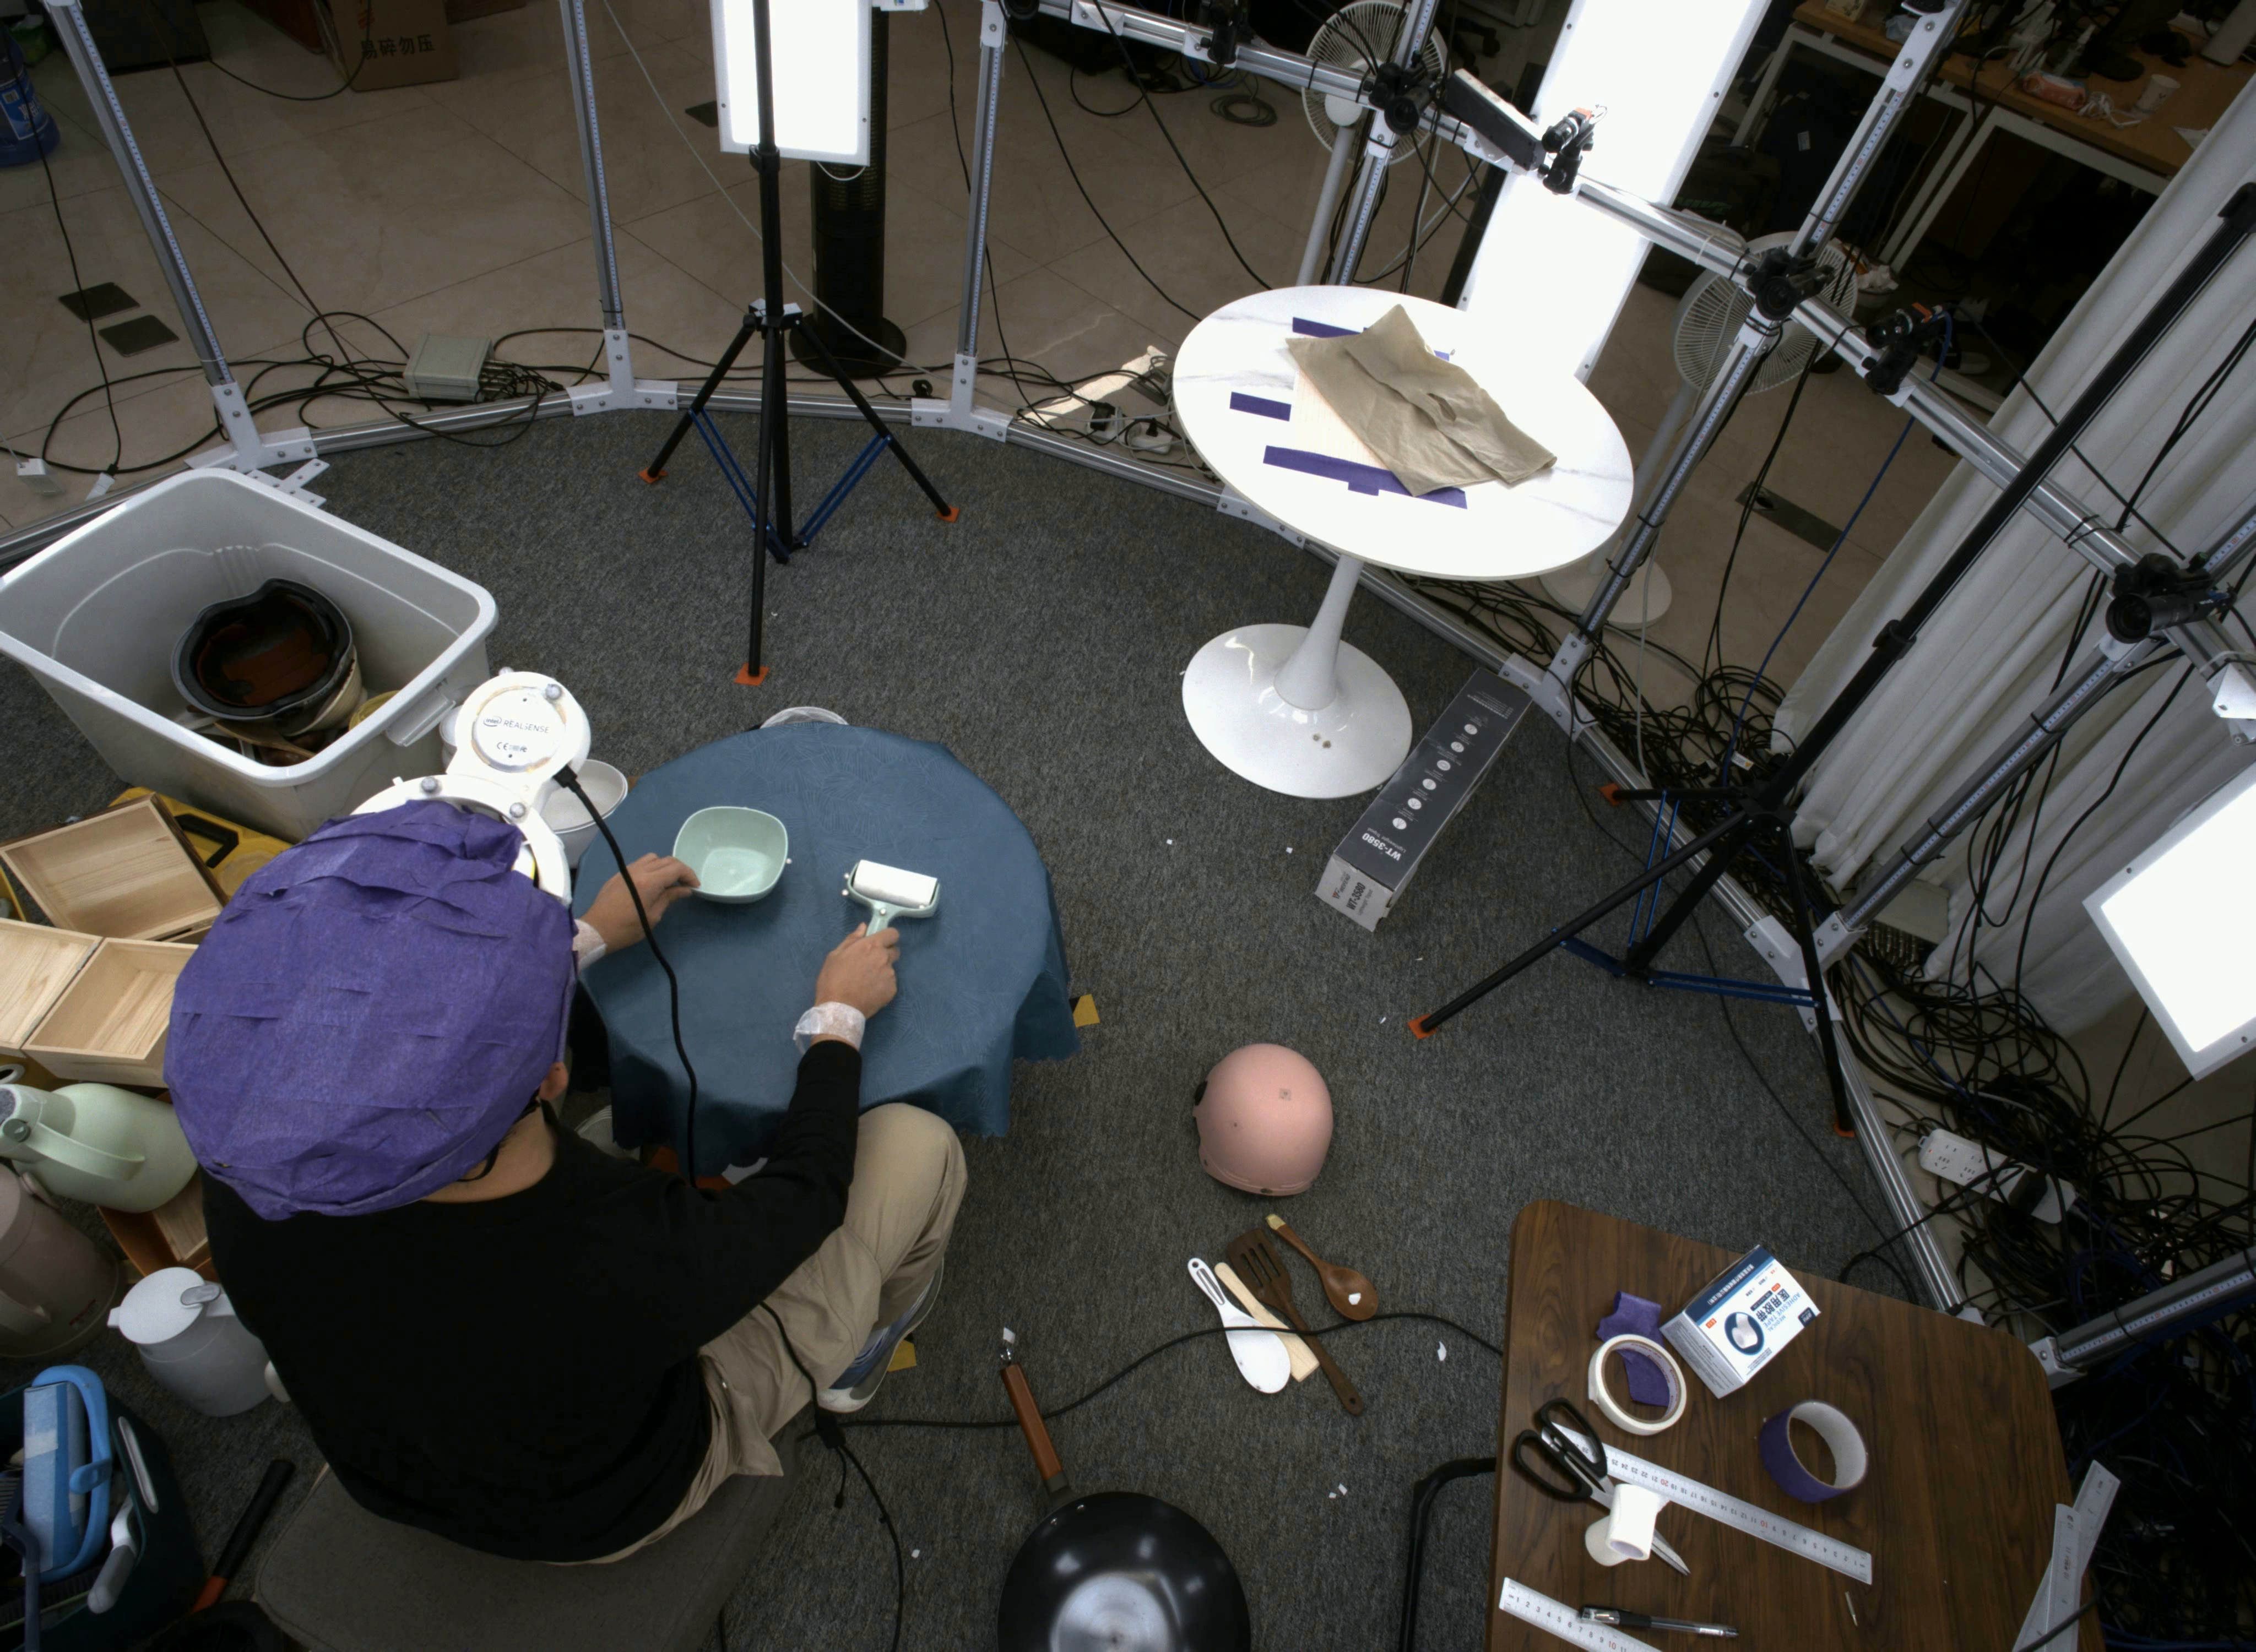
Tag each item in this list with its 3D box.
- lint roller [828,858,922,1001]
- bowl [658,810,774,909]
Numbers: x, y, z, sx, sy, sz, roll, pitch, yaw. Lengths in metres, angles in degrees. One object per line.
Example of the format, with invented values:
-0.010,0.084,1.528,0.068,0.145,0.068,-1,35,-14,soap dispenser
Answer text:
-0.328,0.125,1.603,0.116,0.049,0.194,16,45,-8,lint roller
-0.516,0.050,1.621,0.151,0.060,0.148,9,51,-9,bowl
